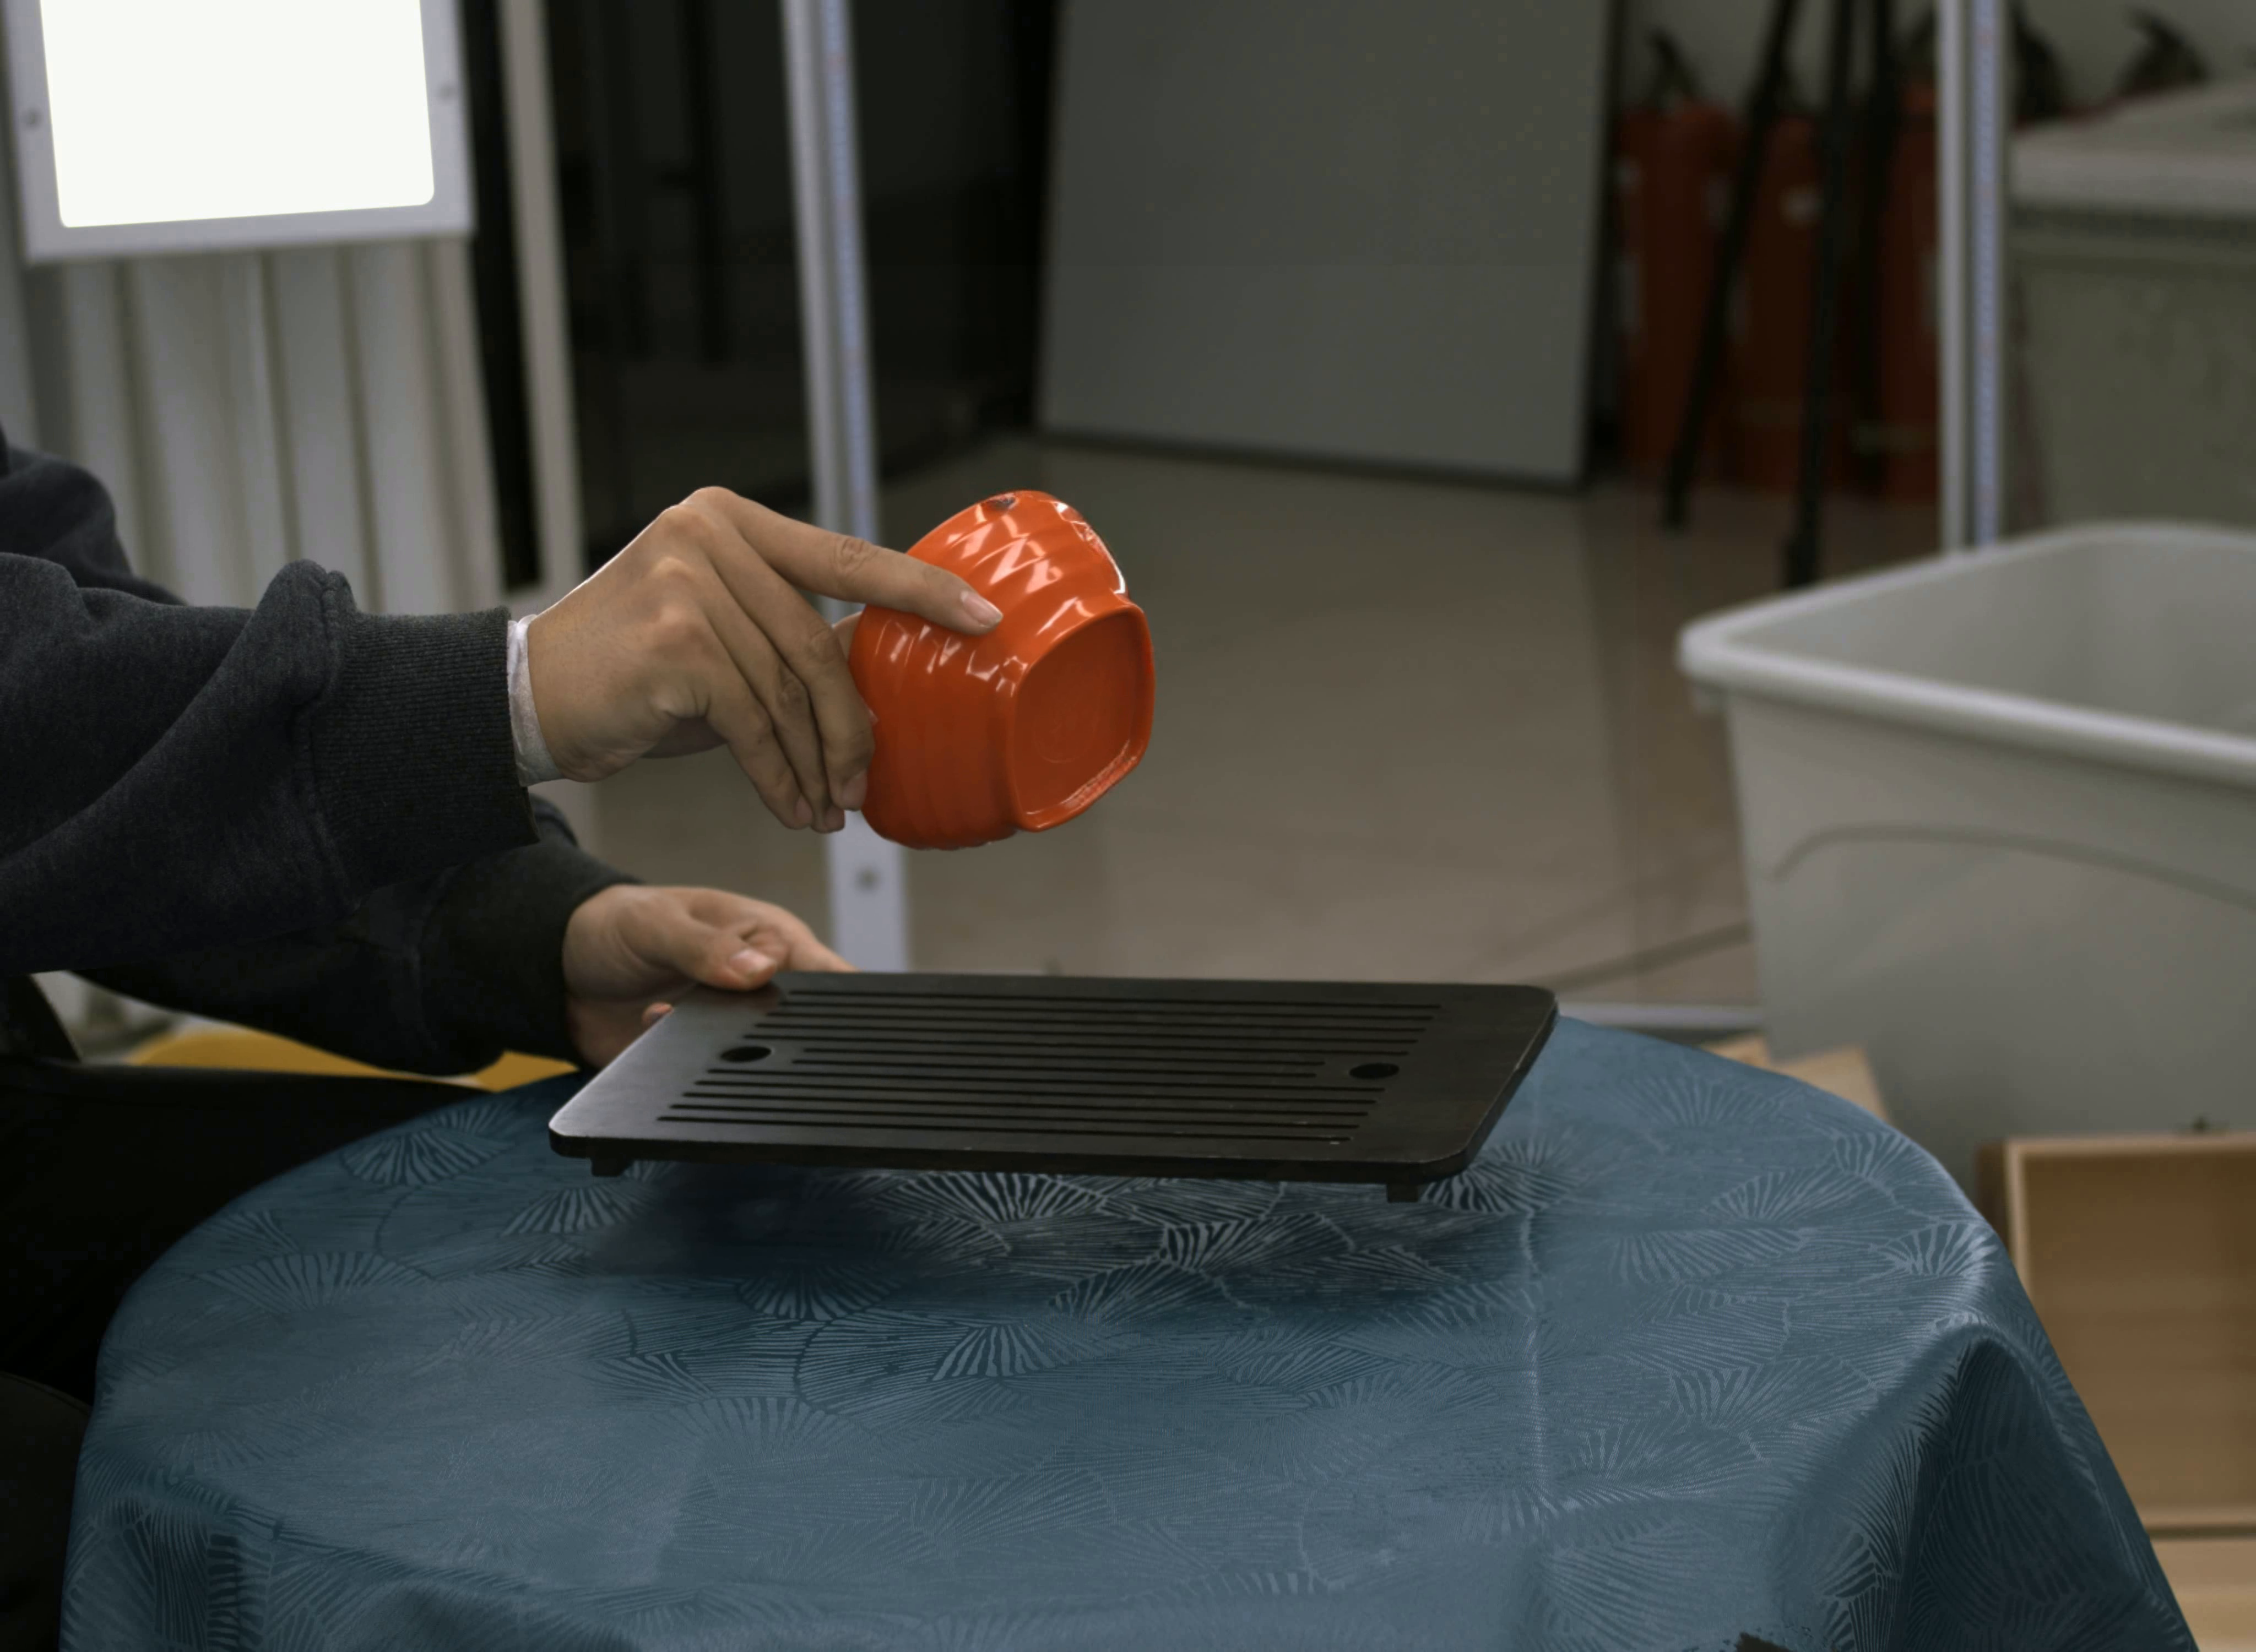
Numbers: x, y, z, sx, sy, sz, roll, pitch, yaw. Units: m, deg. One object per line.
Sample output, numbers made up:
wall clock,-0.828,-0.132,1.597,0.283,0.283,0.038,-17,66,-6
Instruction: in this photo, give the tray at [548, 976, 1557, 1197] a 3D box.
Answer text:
tray,-0.021,0.083,1.755,0.305,0.019,0.169,0,17,18

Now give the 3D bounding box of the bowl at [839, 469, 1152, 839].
bowl,-0.033,-0.045,1.640,0.052,0.120,0.116,26,29,35
